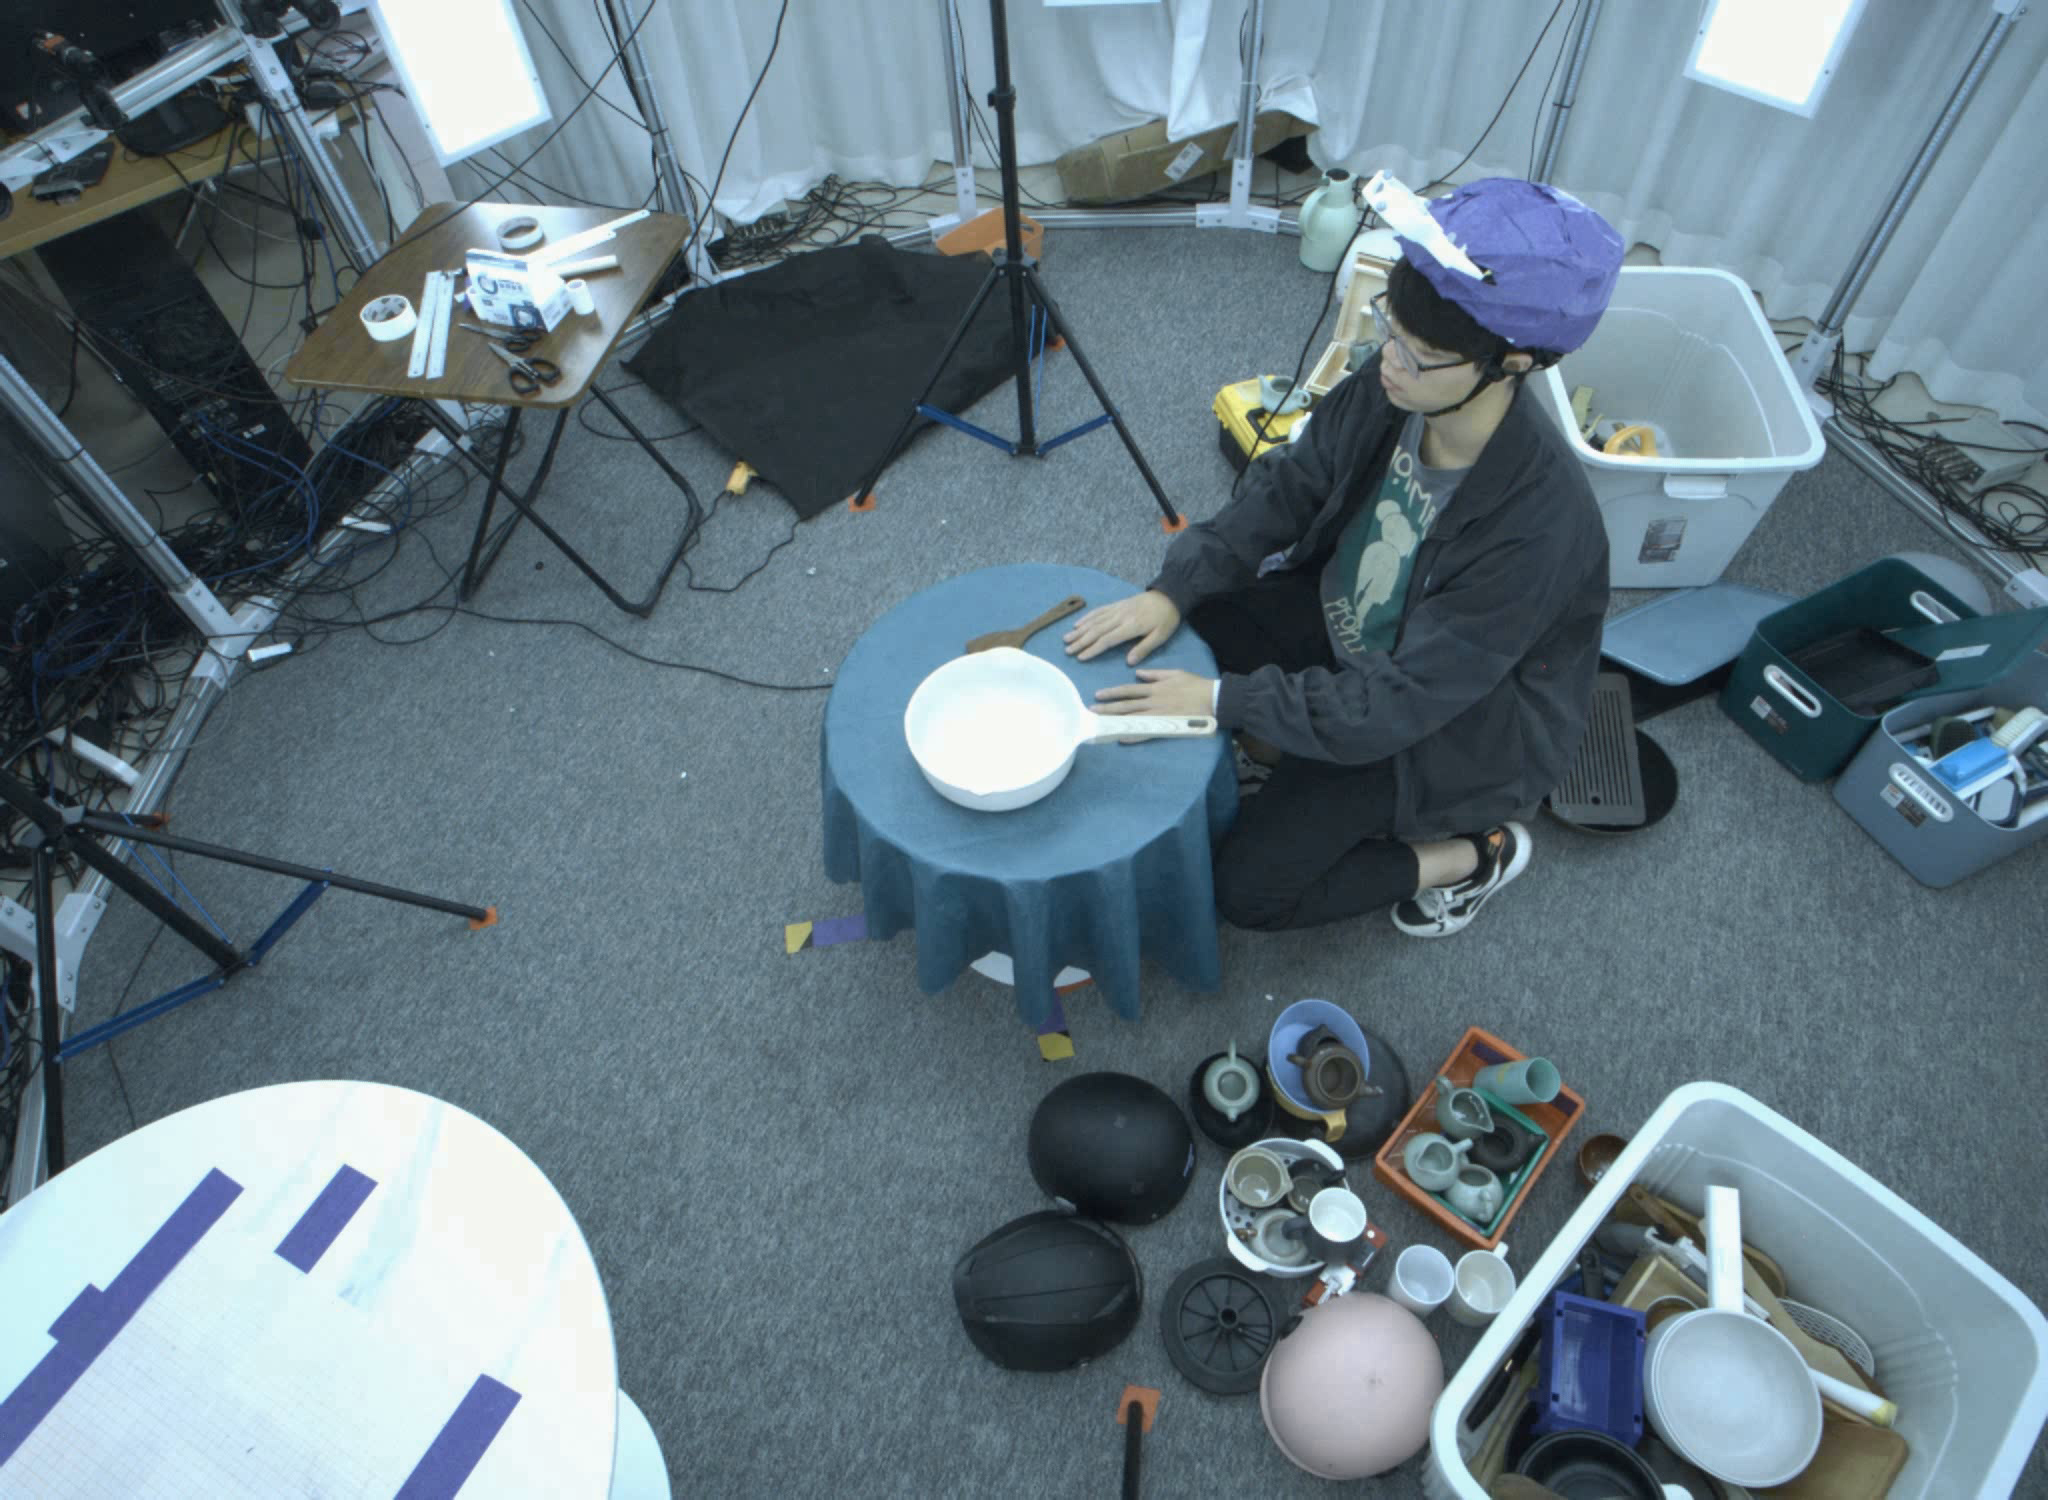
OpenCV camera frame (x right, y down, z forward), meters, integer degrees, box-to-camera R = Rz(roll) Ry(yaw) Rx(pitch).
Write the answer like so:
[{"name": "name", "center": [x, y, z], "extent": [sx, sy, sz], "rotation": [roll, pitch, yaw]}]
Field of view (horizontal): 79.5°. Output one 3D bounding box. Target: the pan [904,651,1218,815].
[{"name": "pan", "center": [0.051, -0.015, 1.728], "extent": [0.433, 0.103, 0.261], "rotation": [4, 53, 4]}]

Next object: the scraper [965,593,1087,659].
[{"name": "scraper", "center": [0.010, -0.190, 1.910], "extent": [0.213, 0.011, 0.074], "rotation": [-32, 60, -20]}]
